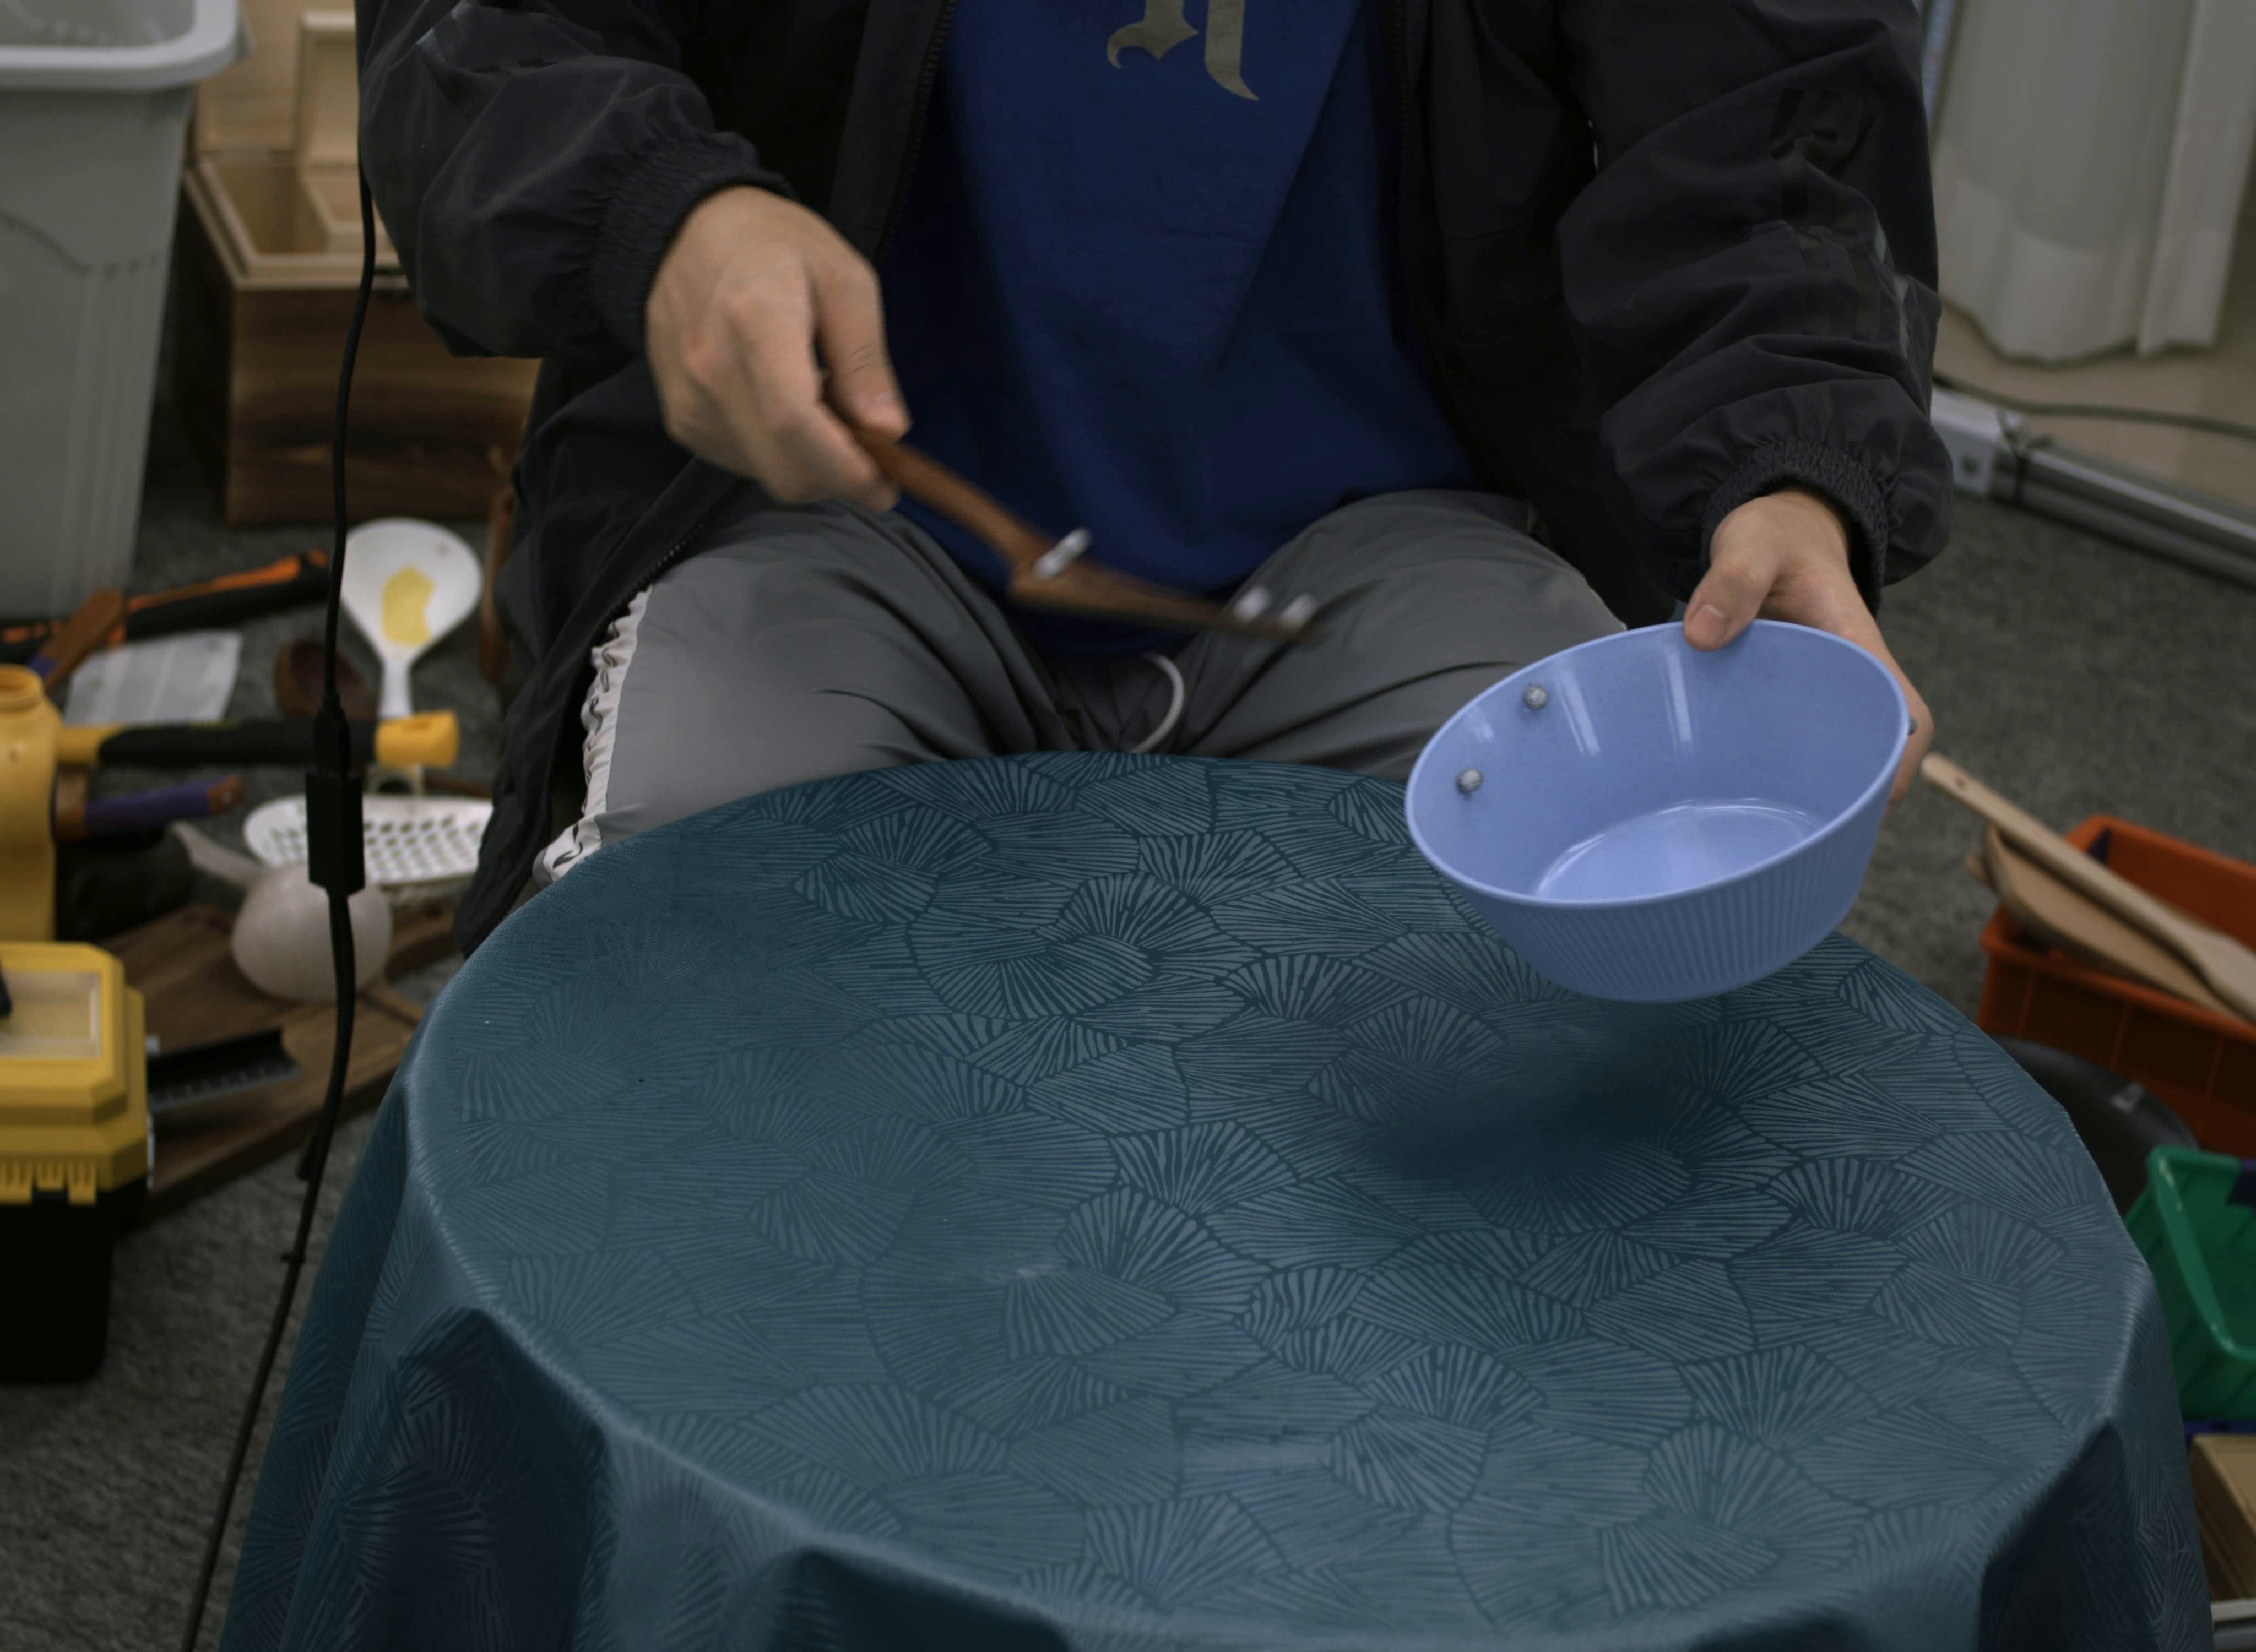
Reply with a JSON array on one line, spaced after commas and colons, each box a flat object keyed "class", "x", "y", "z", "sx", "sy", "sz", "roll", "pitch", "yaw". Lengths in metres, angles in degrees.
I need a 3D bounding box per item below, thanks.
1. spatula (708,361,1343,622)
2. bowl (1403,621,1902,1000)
[{"class": "spatula", "x": -0.056, "y": -0.115, "z": 1.850, "sx": 0.085, "sy": 0.024, "sz": 0.390, "roll": 7, "pitch": 13, "yaw": -33}, {"class": "bowl", "x": 0.187, "y": 0.002, "z": 1.844, "sx": 0.176, "sy": 0.070, "sz": 0.177, "roll": -13, "pitch": 29, "yaw": 7}]
